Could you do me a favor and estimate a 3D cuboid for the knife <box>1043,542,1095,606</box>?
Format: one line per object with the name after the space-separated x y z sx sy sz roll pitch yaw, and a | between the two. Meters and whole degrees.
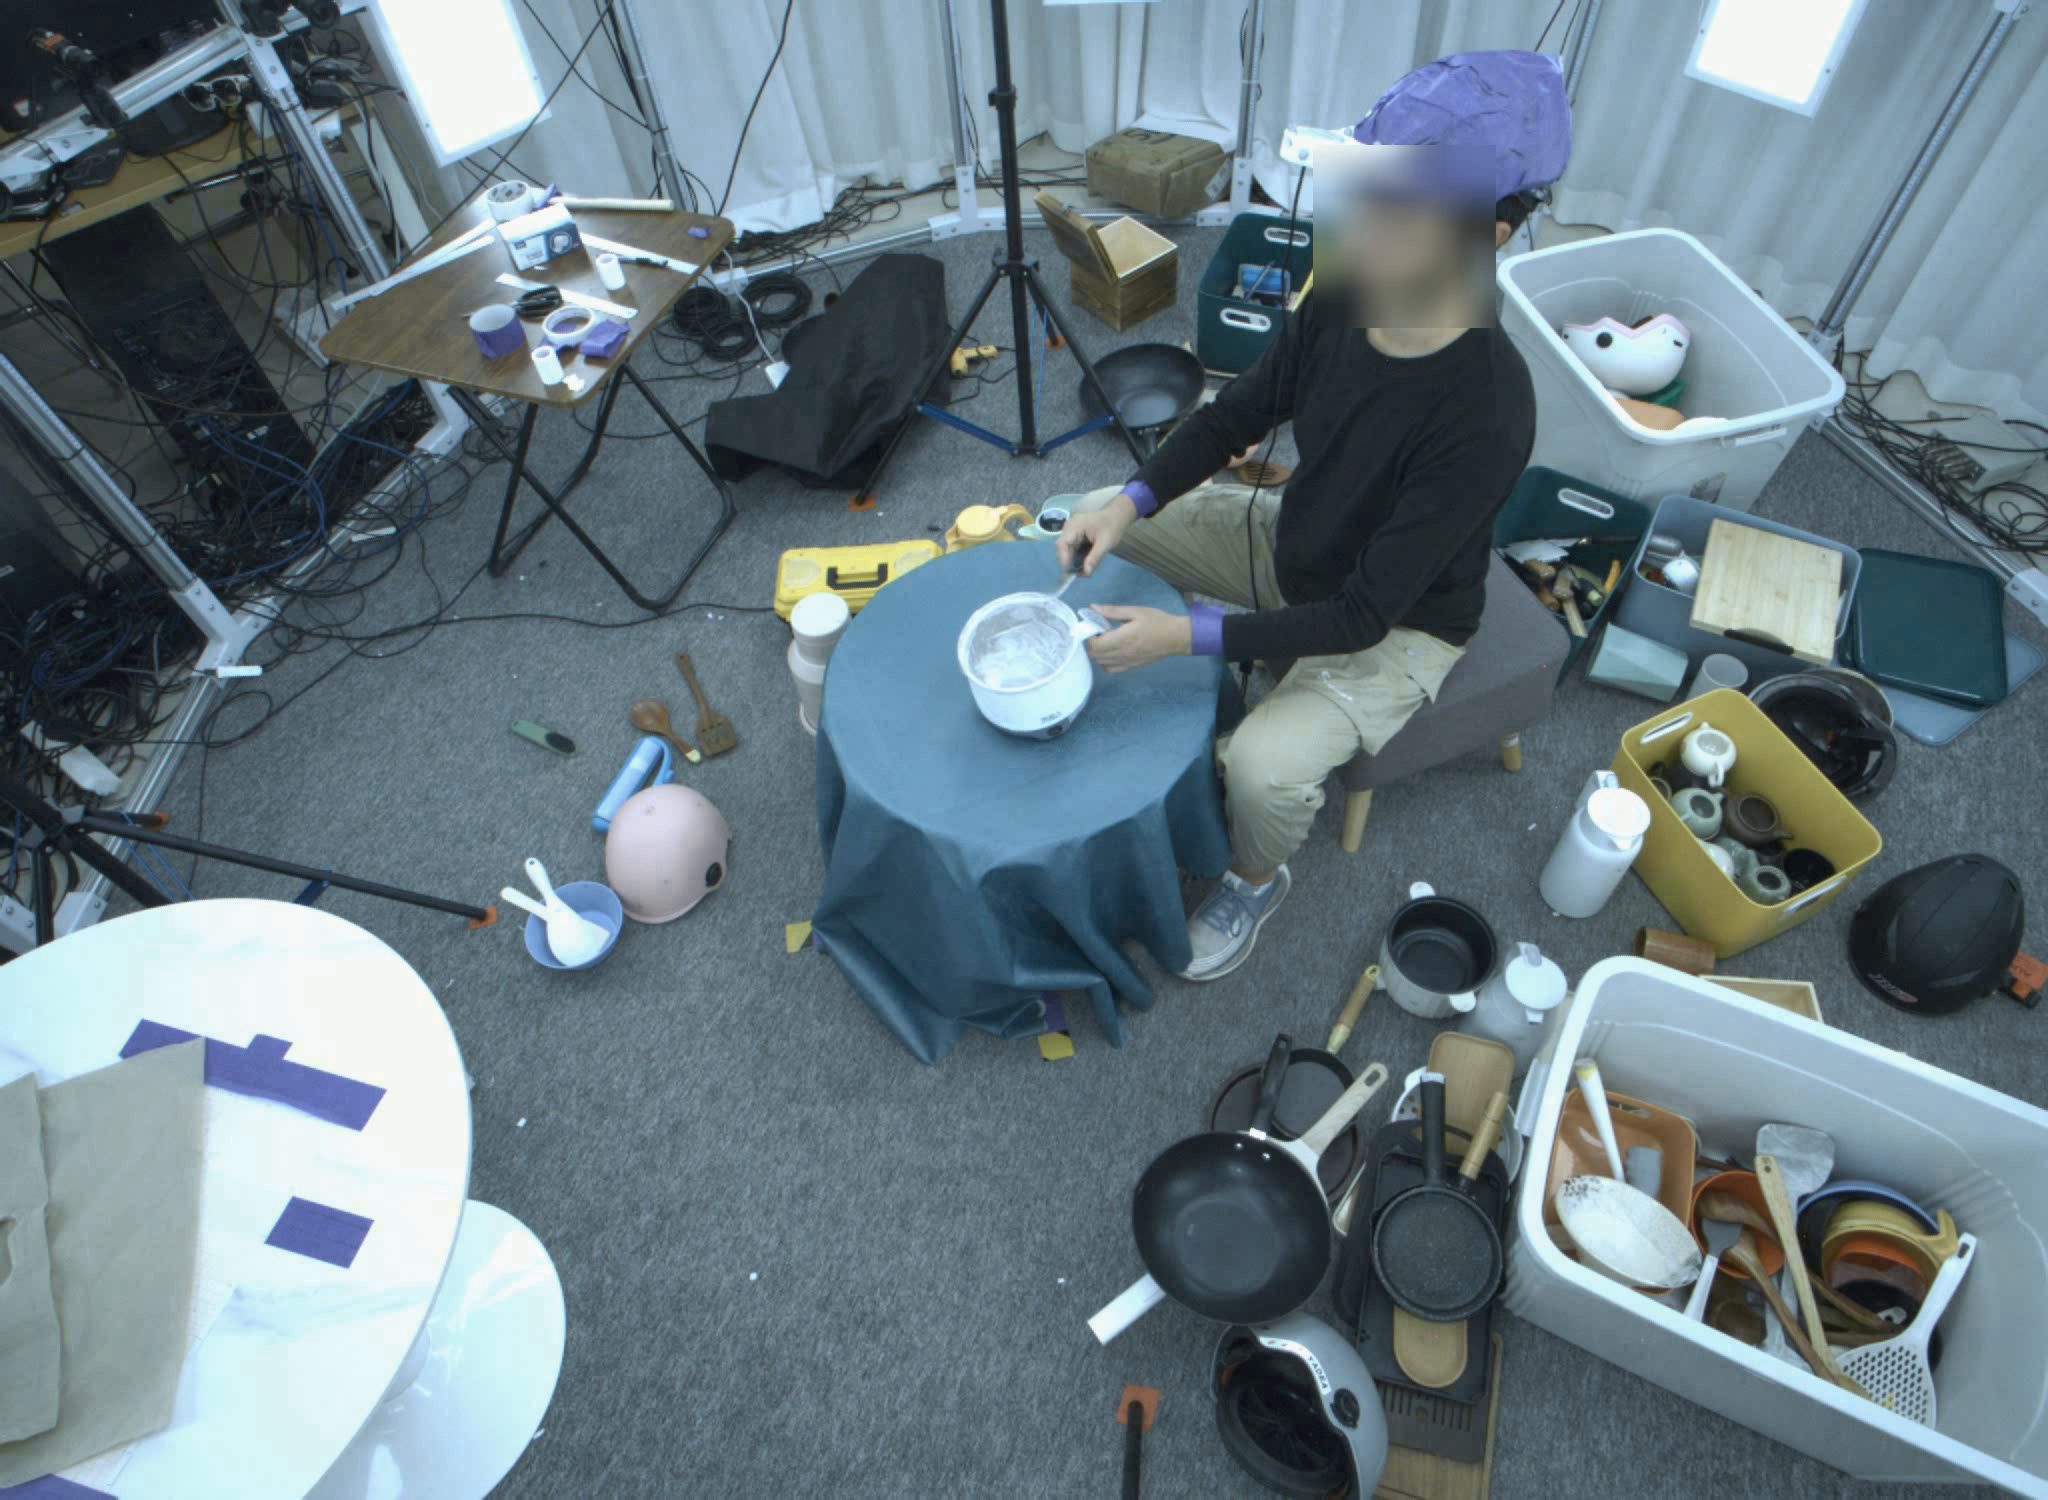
0.062 -0.254 1.771 0.024 0.016 0.238 4 30 19 | knife

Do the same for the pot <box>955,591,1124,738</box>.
0.028 -0.133 1.775 0.234 0.139 0.175 -25 57 -3 | pot
